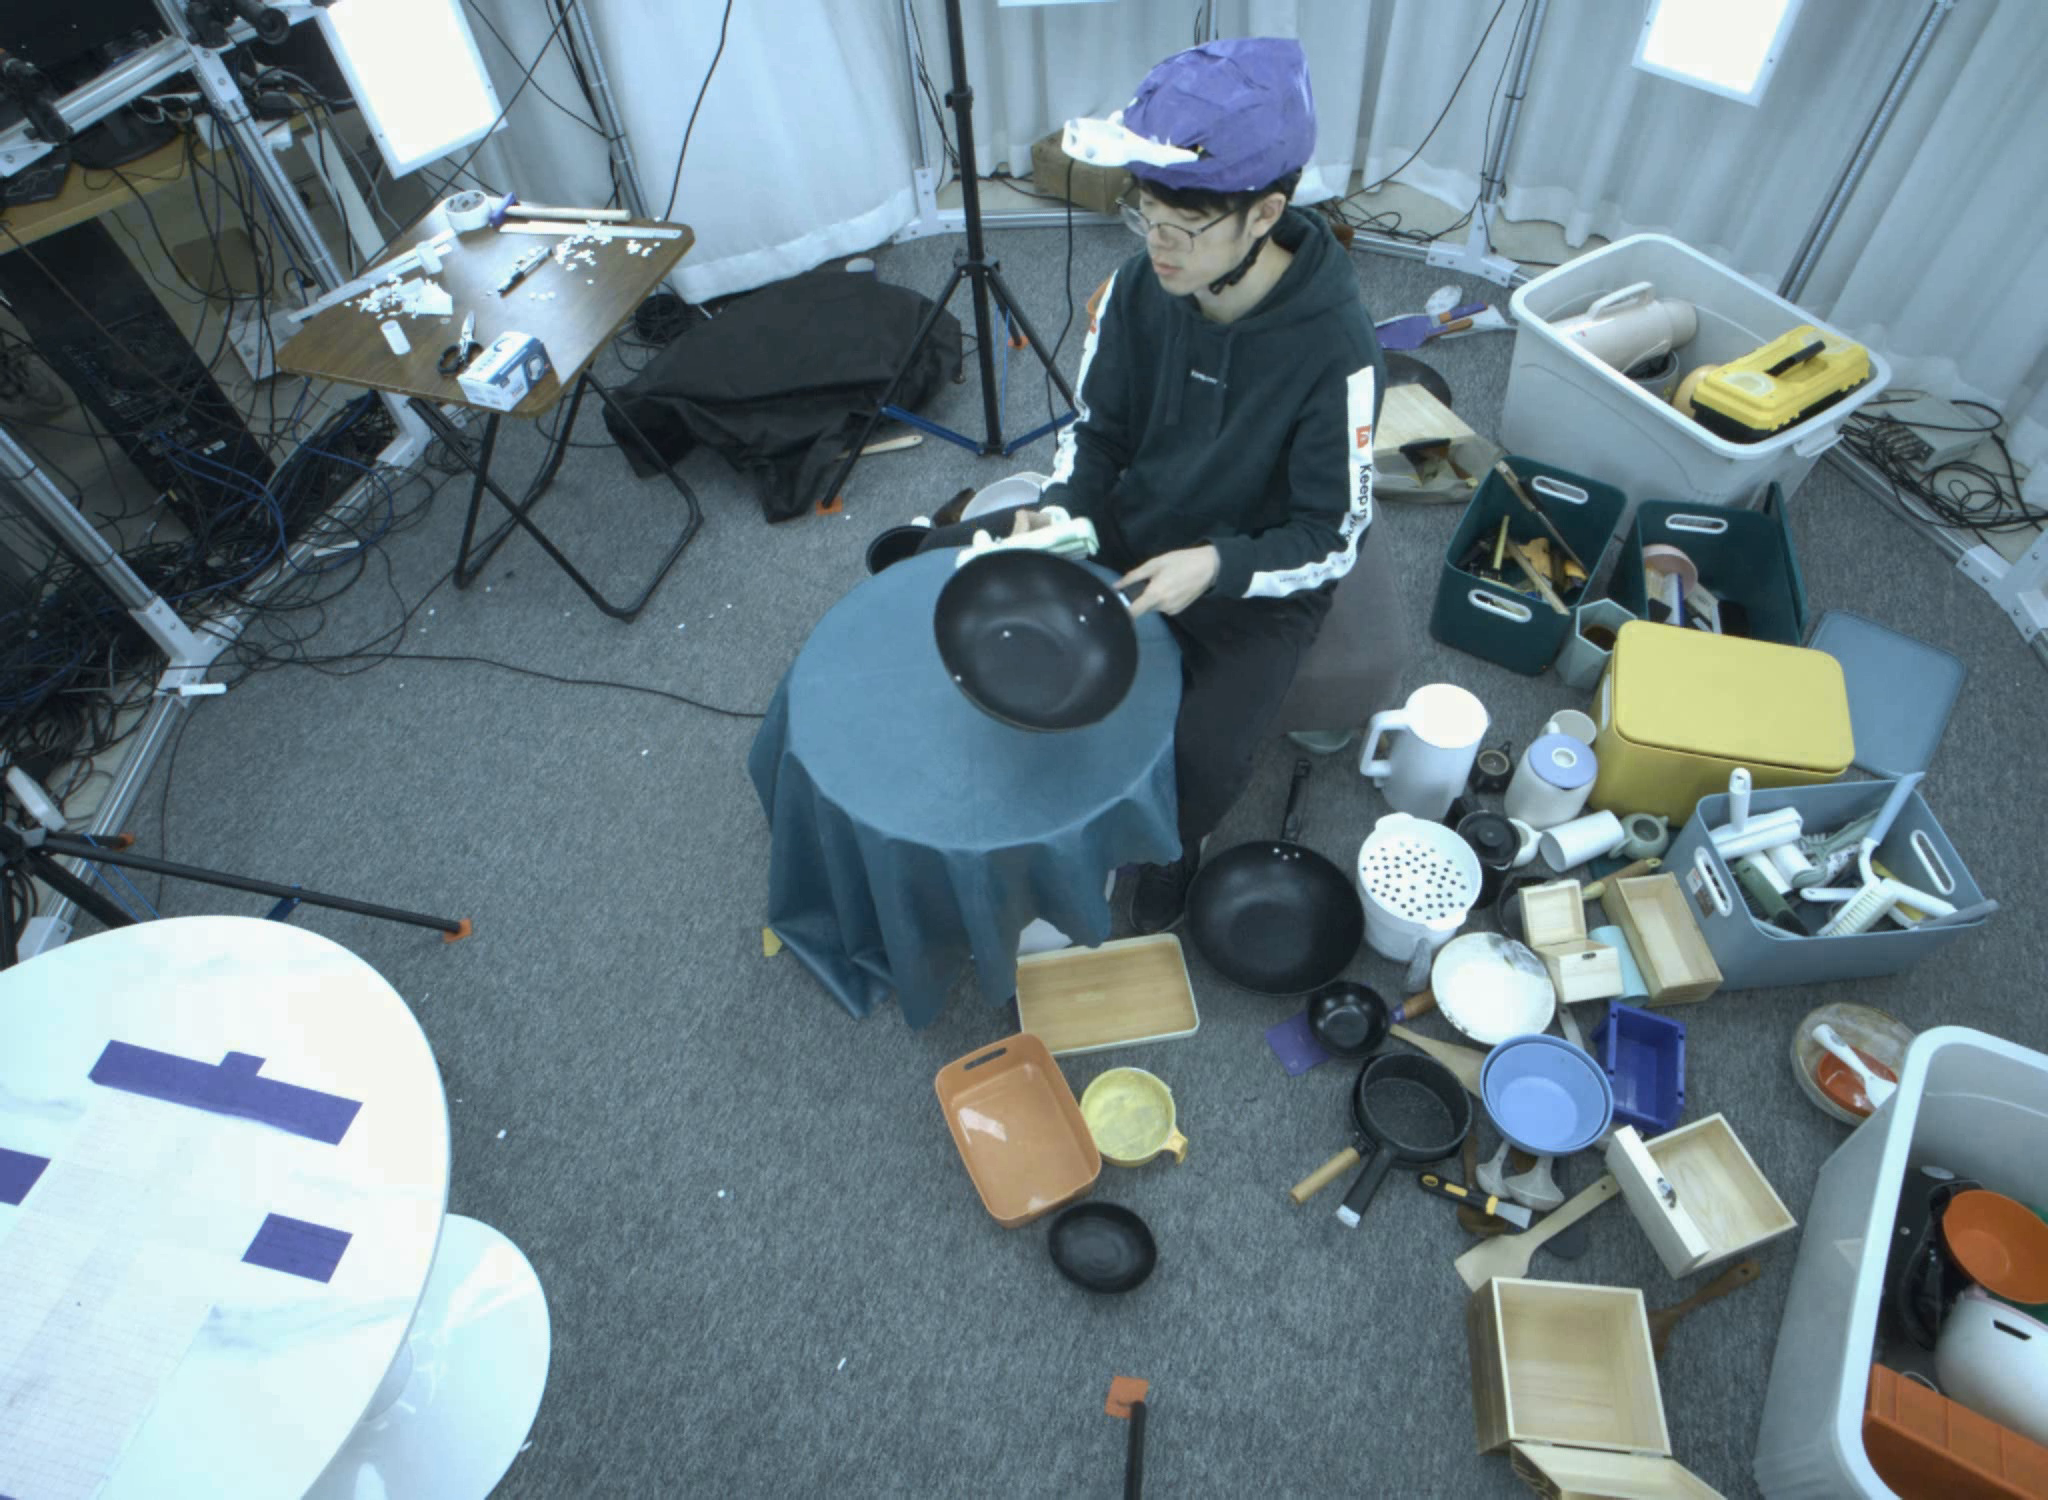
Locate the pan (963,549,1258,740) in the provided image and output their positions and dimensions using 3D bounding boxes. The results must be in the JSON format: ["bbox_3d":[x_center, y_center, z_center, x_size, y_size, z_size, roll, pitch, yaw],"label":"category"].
[{"bbox_3d":[0.123,-0.162,1.664,0.469,0.086,0.285,-26,75,-27],"label":"pan"}]

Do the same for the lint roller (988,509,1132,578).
[{"bbox_3d":[0.056,-0.297,1.739,0.197,0.083,0.183,-12,19,15],"label":"lint roller"}]
